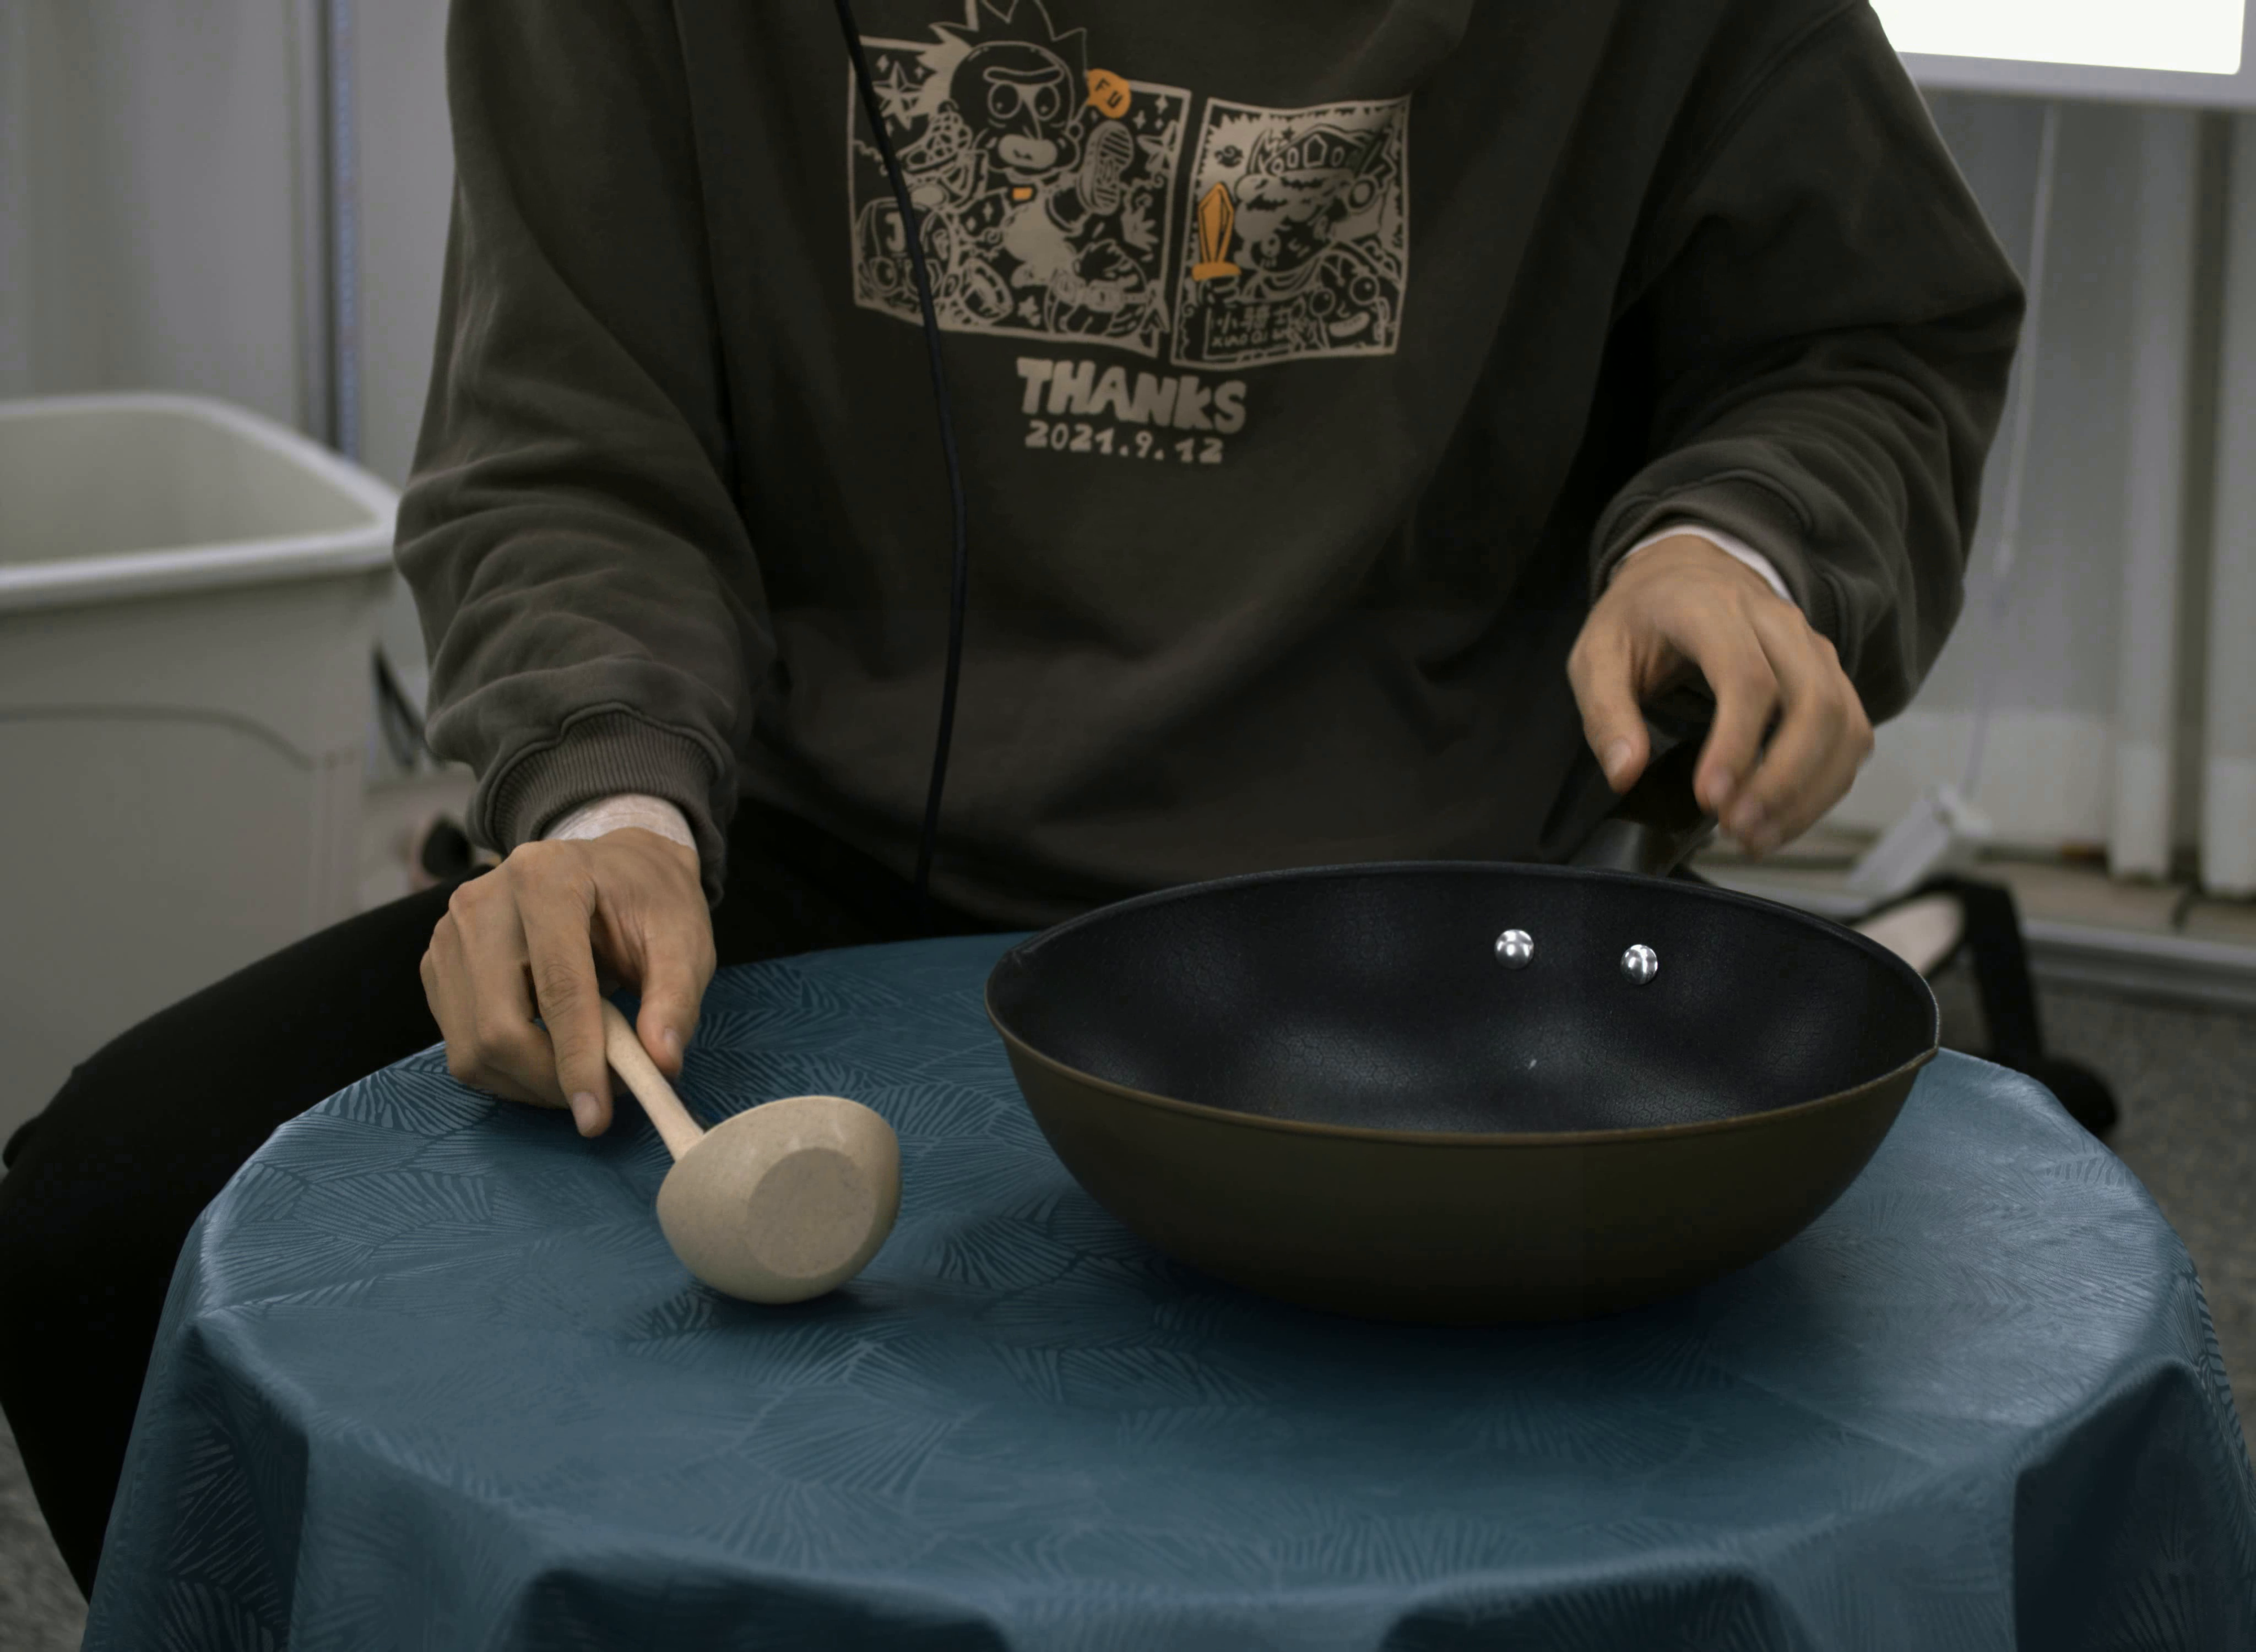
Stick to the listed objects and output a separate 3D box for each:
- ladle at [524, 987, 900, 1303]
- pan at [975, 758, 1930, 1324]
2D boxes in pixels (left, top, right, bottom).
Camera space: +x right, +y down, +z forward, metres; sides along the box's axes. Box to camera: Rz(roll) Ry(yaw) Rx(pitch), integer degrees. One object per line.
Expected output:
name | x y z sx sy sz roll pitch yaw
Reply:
ladle | -0.140 0.068 1.606 0.072 0.073 0.251 -7 24 -23
pan | 0.128 0.064 1.656 0.285 0.087 0.464 6 15 20
